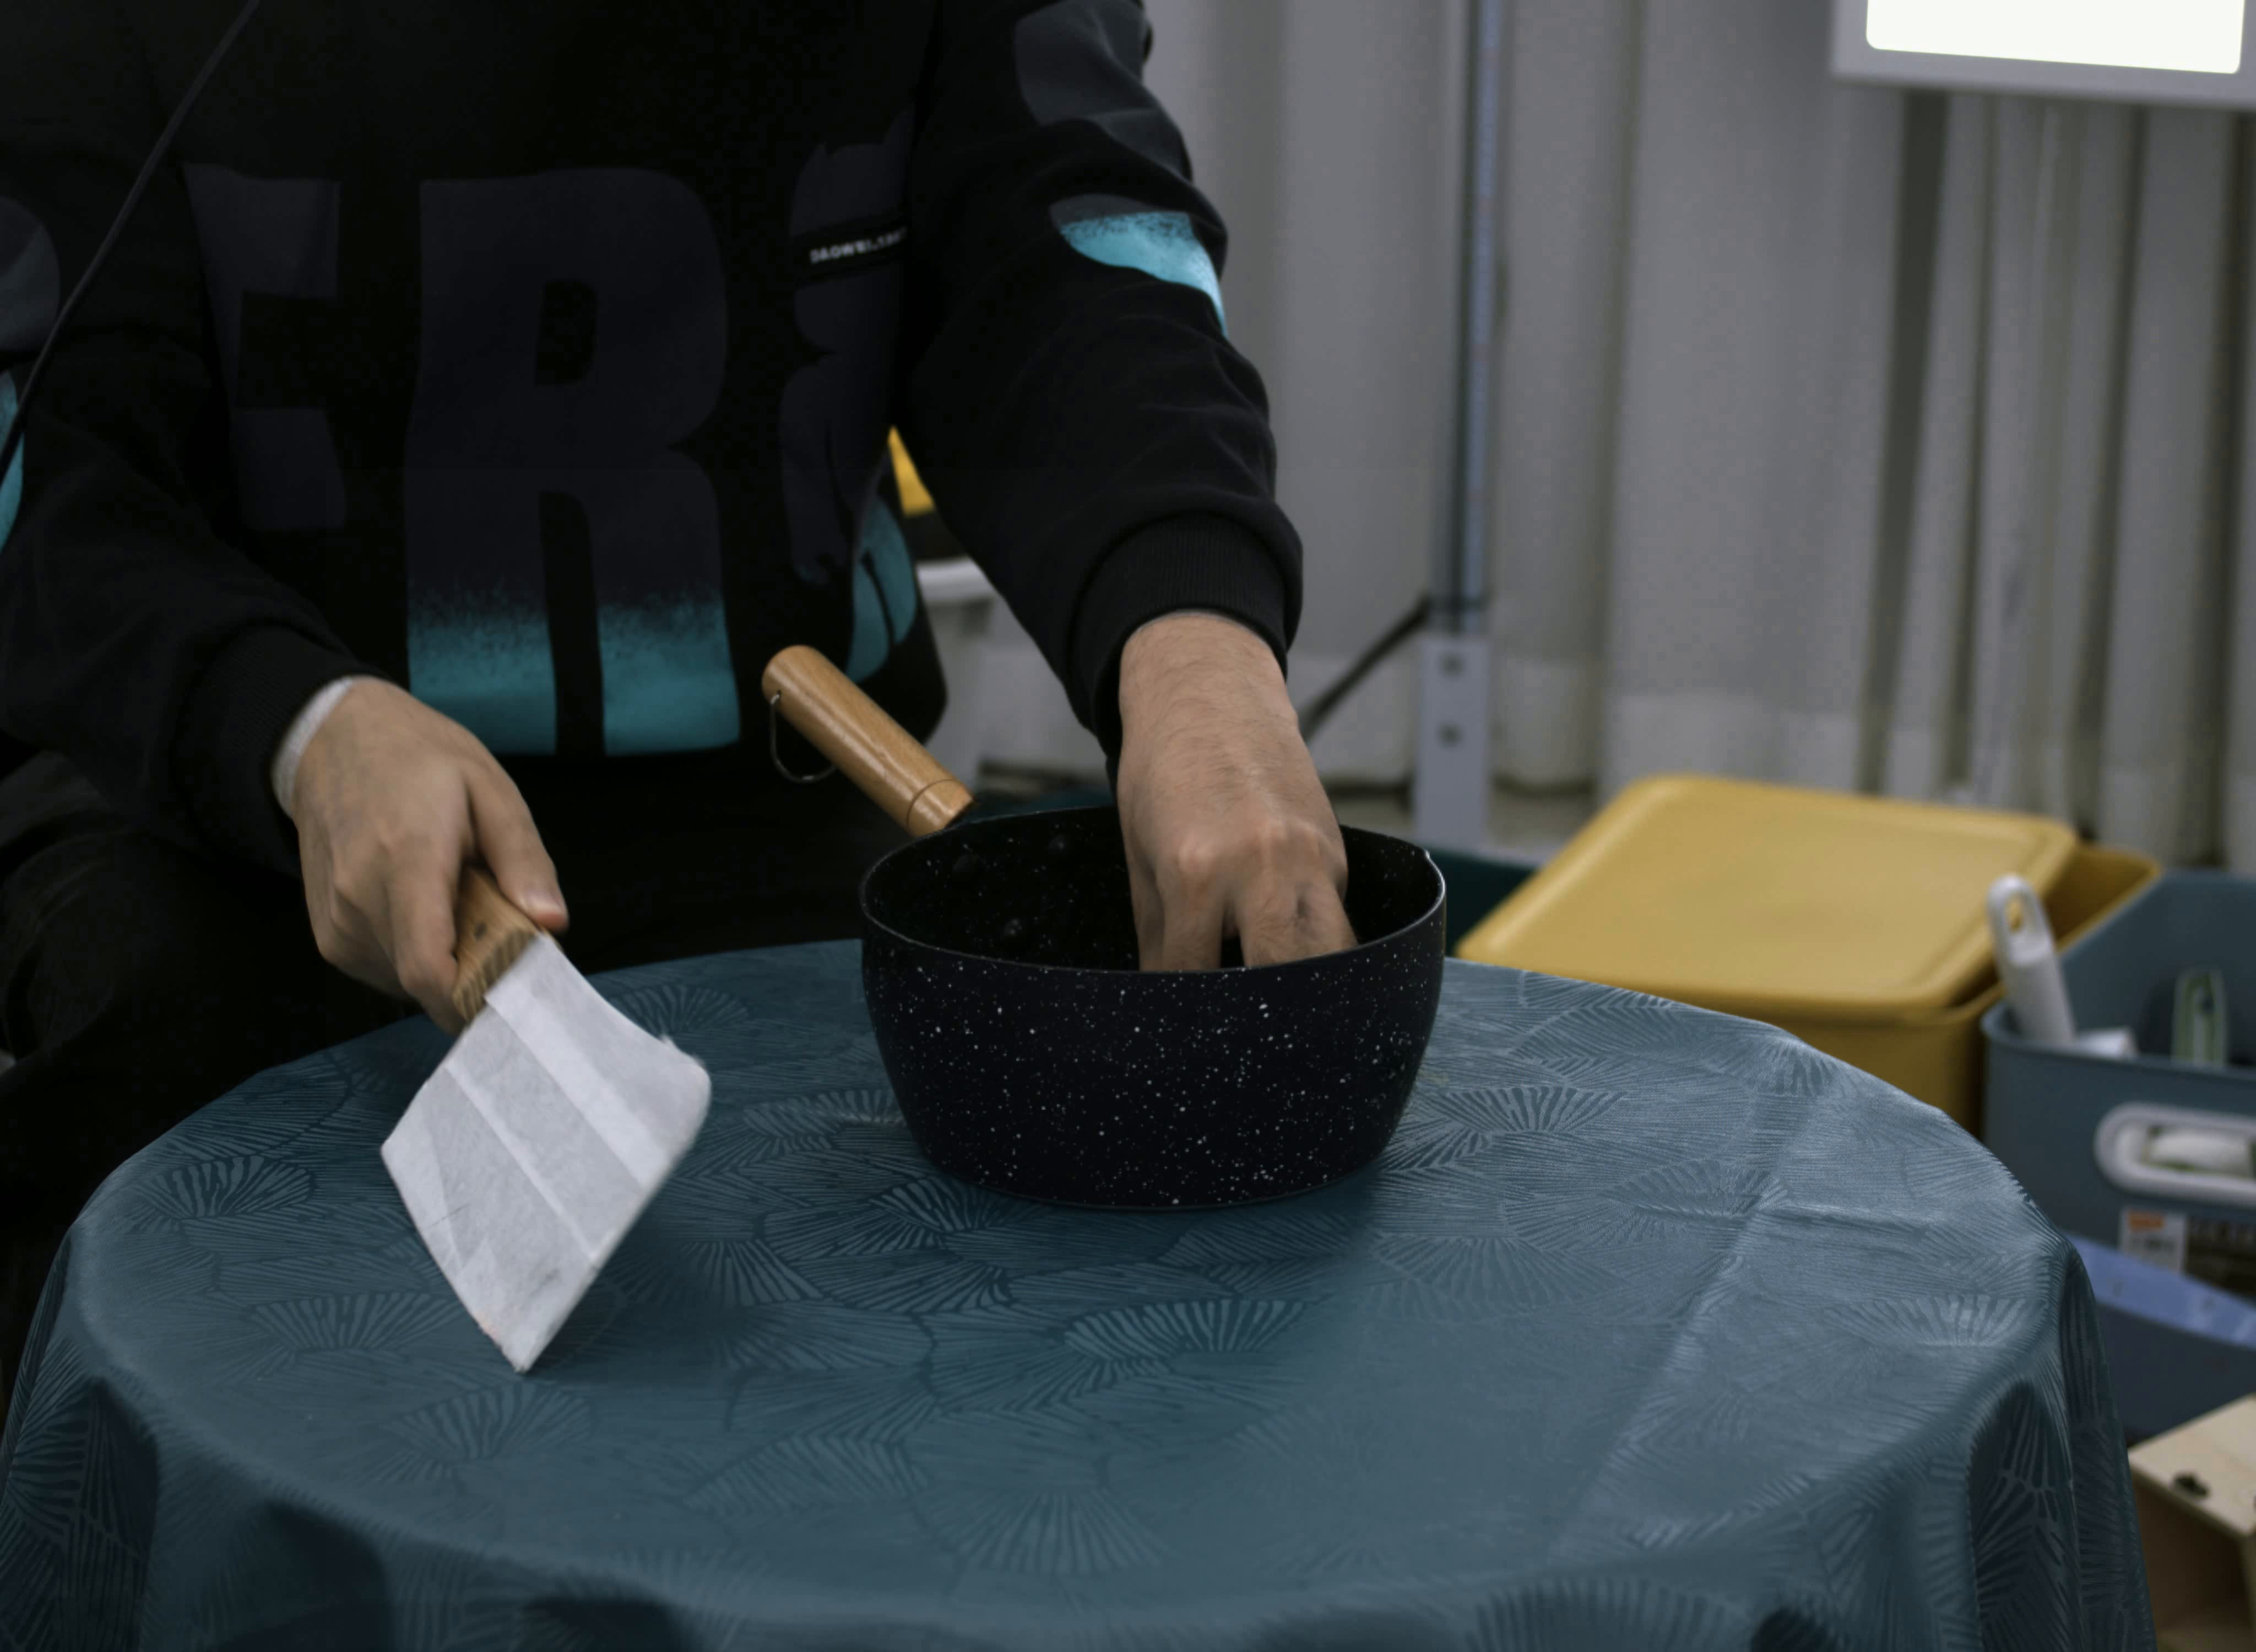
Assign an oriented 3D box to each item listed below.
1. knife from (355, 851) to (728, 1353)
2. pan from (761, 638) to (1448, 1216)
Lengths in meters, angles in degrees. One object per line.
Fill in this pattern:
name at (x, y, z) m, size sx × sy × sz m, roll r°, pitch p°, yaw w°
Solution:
knife at (-0.189, 0.070, 1.605) m, size 0.022 × 0.114 × 0.312 m, roll 40°, pitch 3°, yaw -26°
pan at (-0.034, 0.028, 1.719) m, size 0.208 × 0.109 × 0.338 m, roll -11°, pitch 21°, yaw -31°
